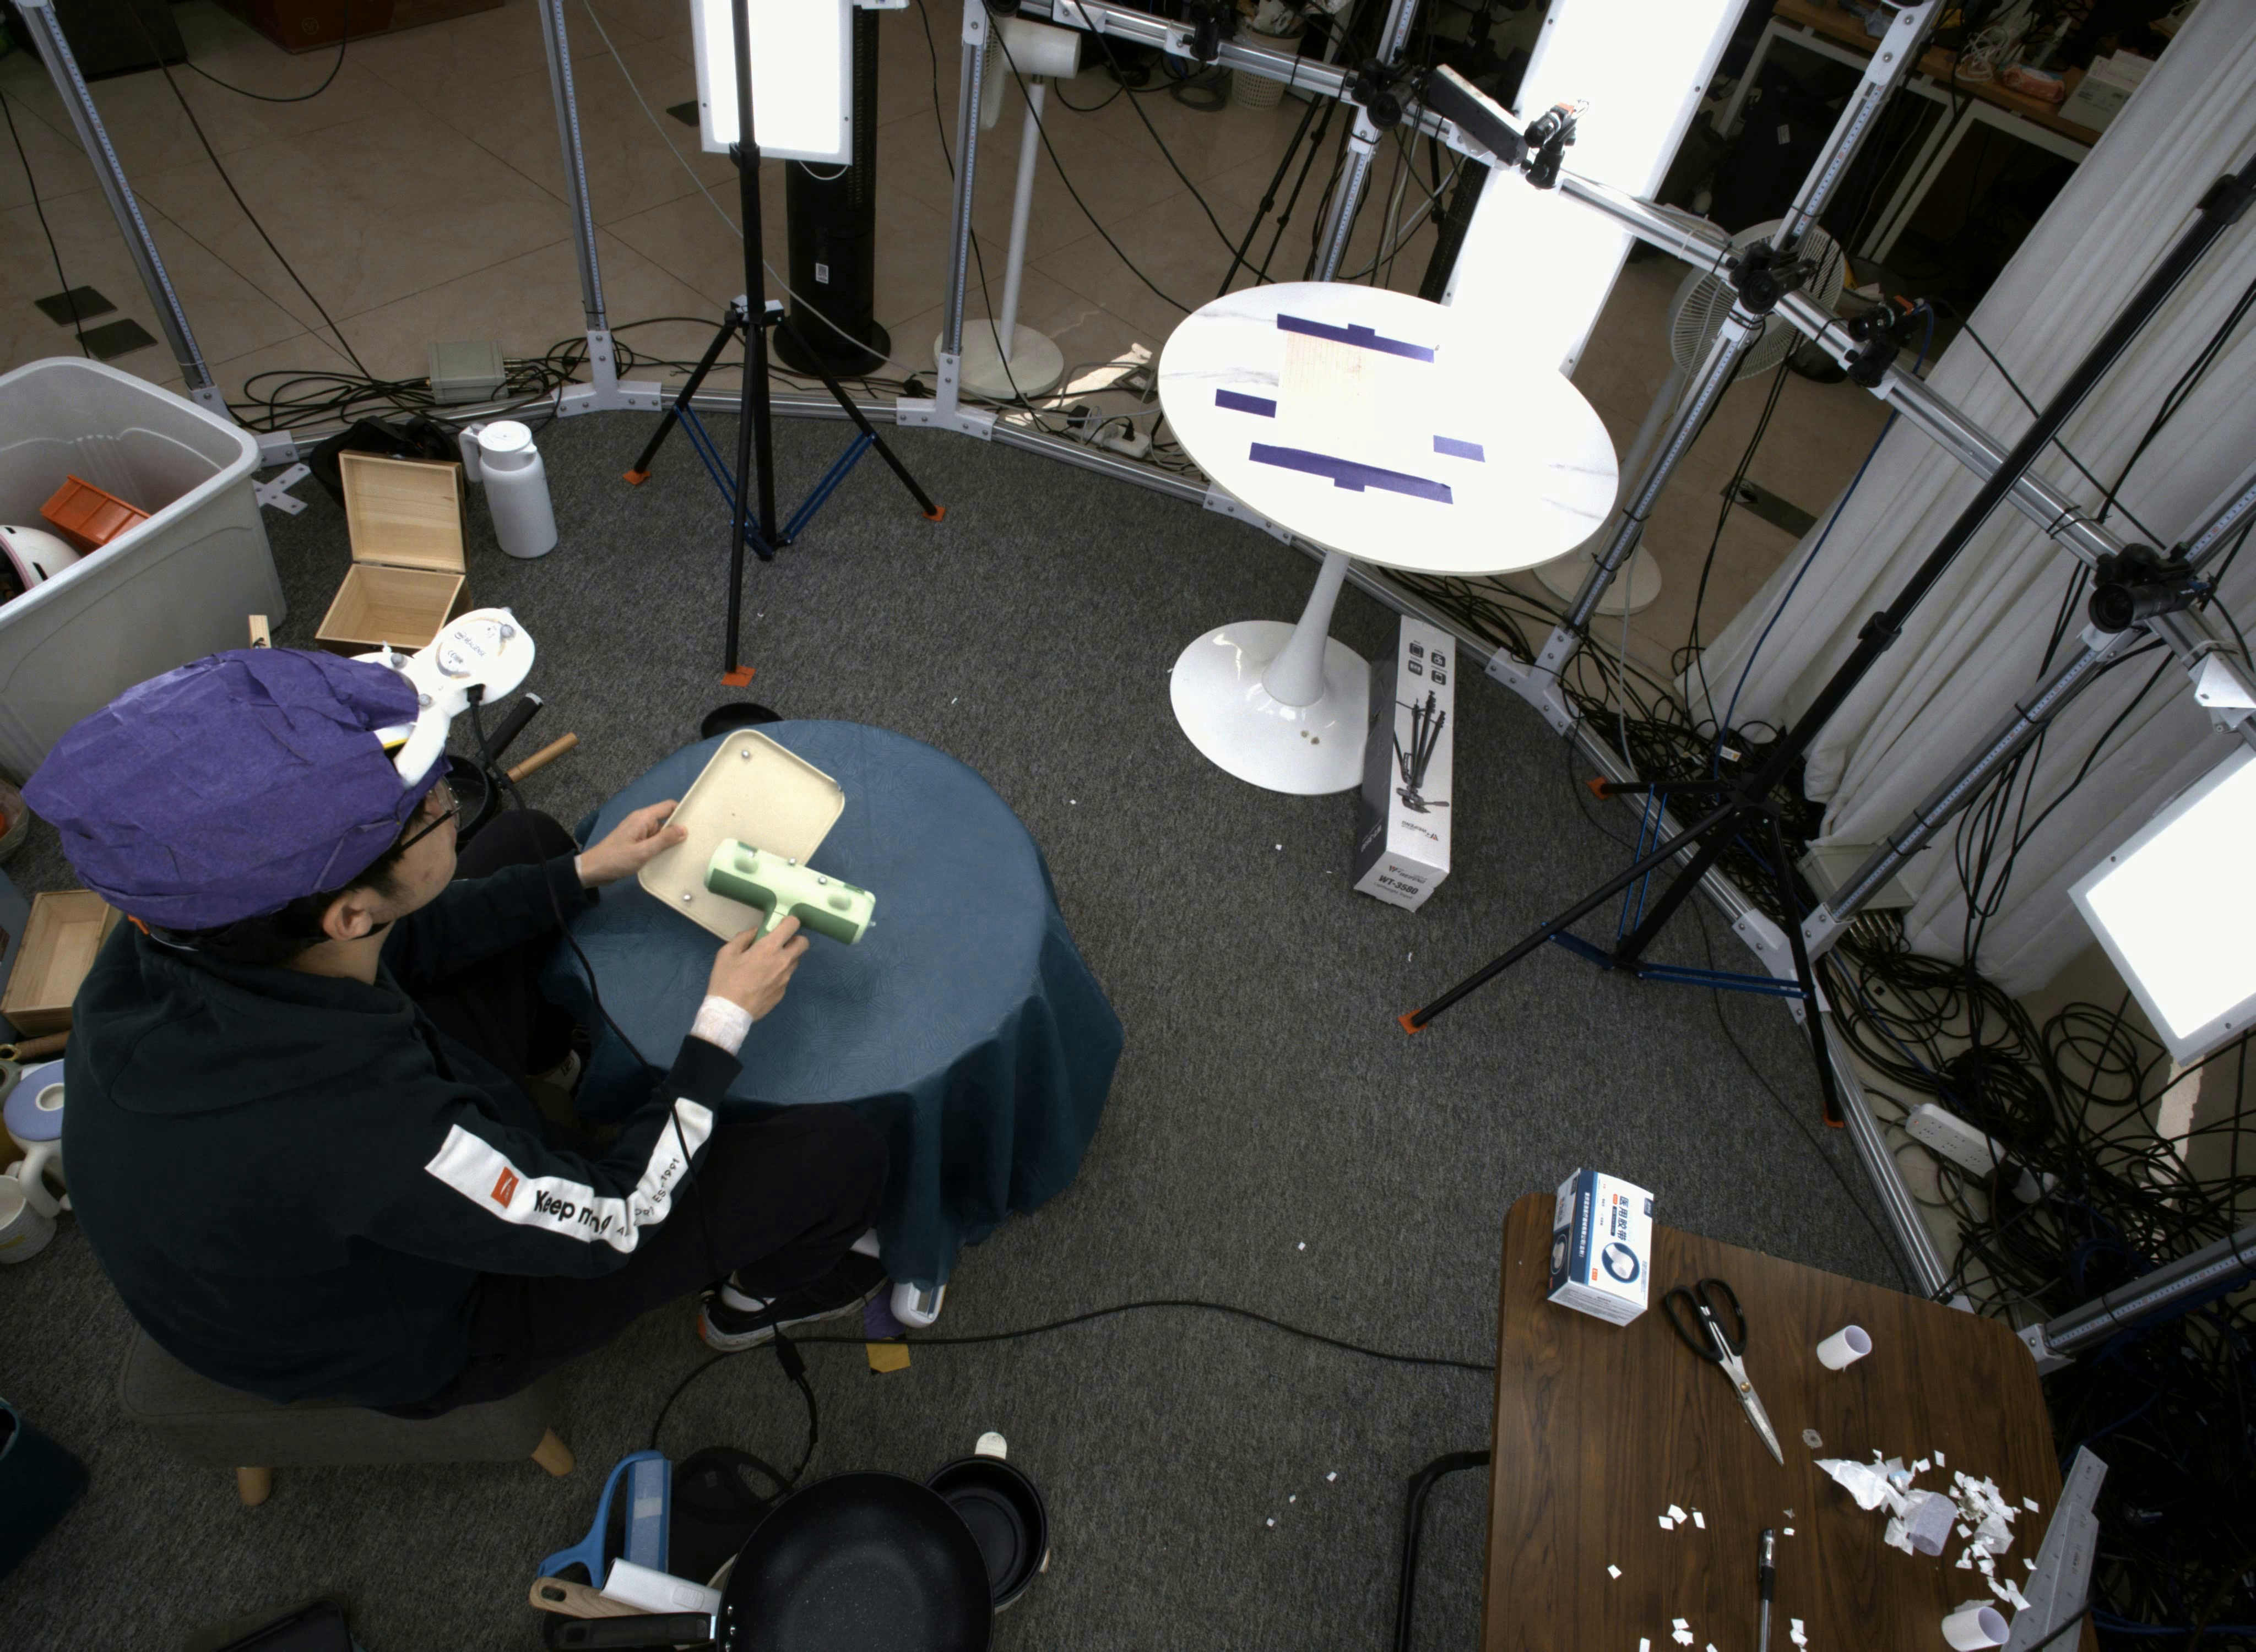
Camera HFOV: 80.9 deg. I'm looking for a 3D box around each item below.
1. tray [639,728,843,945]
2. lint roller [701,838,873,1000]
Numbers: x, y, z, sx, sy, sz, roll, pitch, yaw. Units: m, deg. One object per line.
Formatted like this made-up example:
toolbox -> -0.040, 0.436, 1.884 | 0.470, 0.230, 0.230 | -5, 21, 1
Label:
tray -> -0.476, 0.011, 1.594 | 0.172, 0.017, 0.240 | 32, 75, -7
lint roller -> -0.410, 0.109, 1.496 | 0.200, 0.083, 0.180 | 22, 42, -12
